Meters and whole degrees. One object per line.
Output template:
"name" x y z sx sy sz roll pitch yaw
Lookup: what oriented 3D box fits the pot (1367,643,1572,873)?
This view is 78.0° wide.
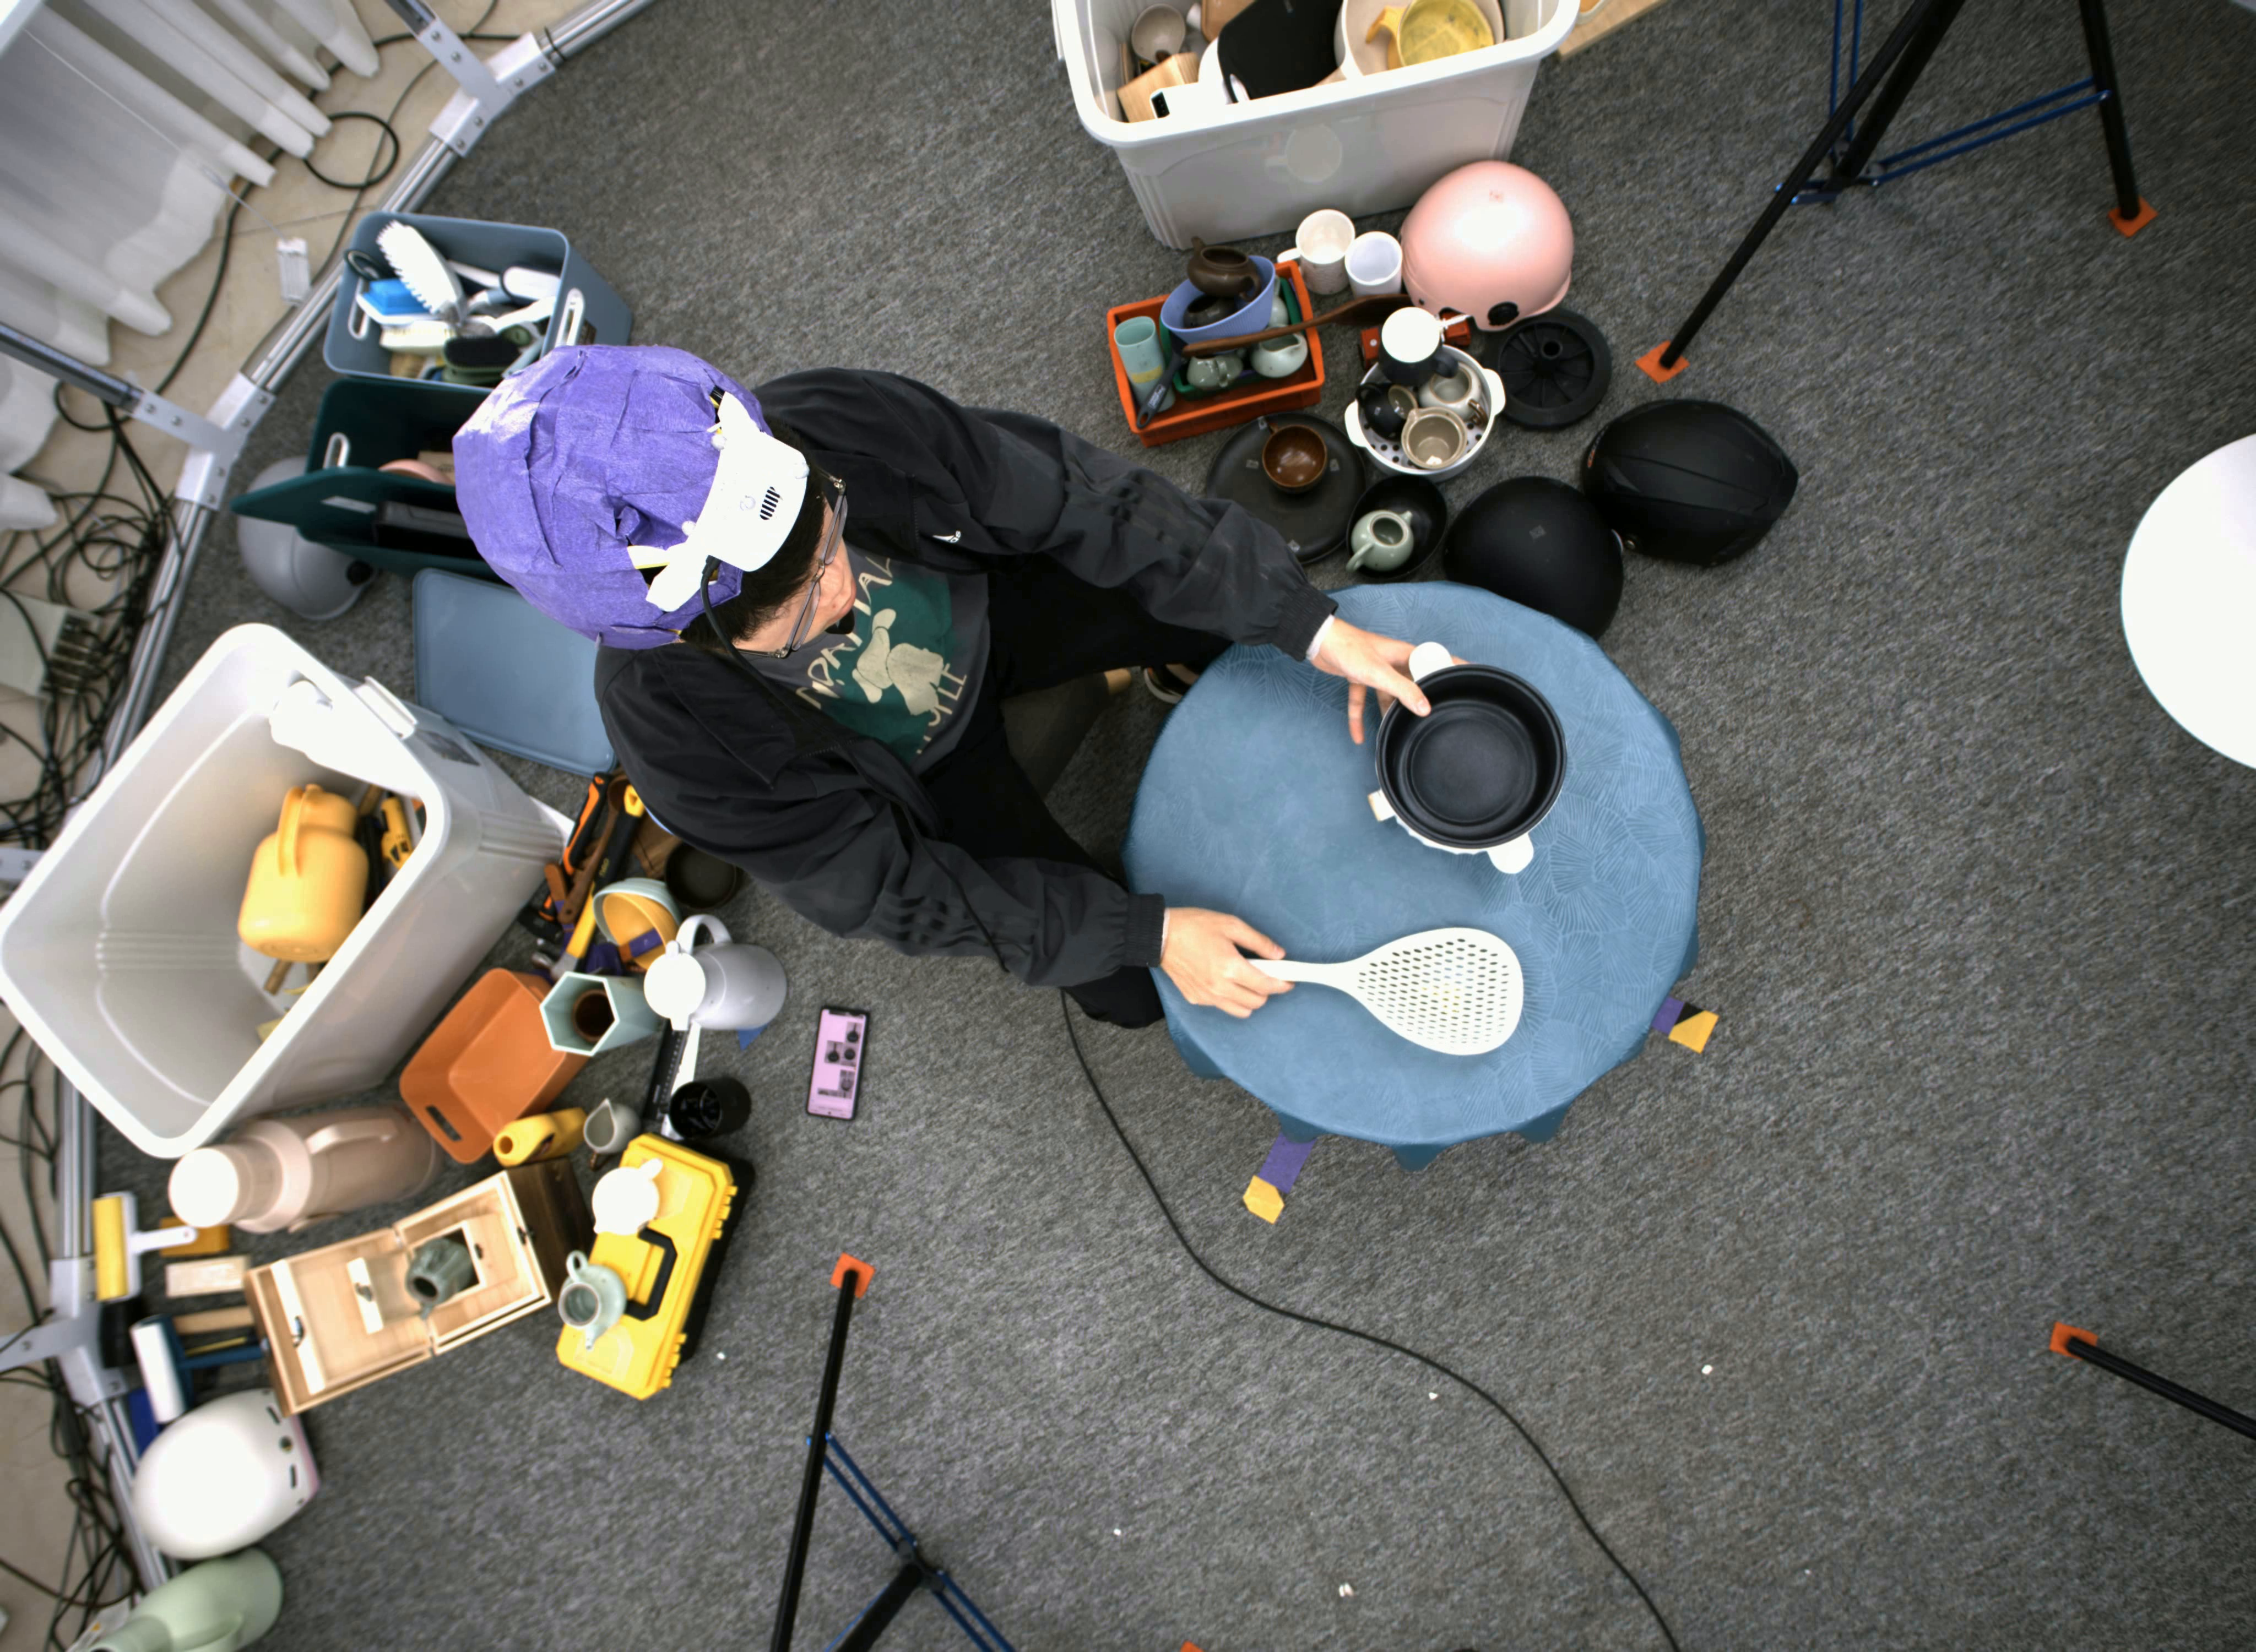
"pot" 0.336 -0.059 1.382 0.191 0.143 0.239 -22 82 5

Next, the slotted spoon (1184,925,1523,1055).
"slotted spoon" 0.229 0.160 1.435 0.349 0.051 0.134 6 71 9
